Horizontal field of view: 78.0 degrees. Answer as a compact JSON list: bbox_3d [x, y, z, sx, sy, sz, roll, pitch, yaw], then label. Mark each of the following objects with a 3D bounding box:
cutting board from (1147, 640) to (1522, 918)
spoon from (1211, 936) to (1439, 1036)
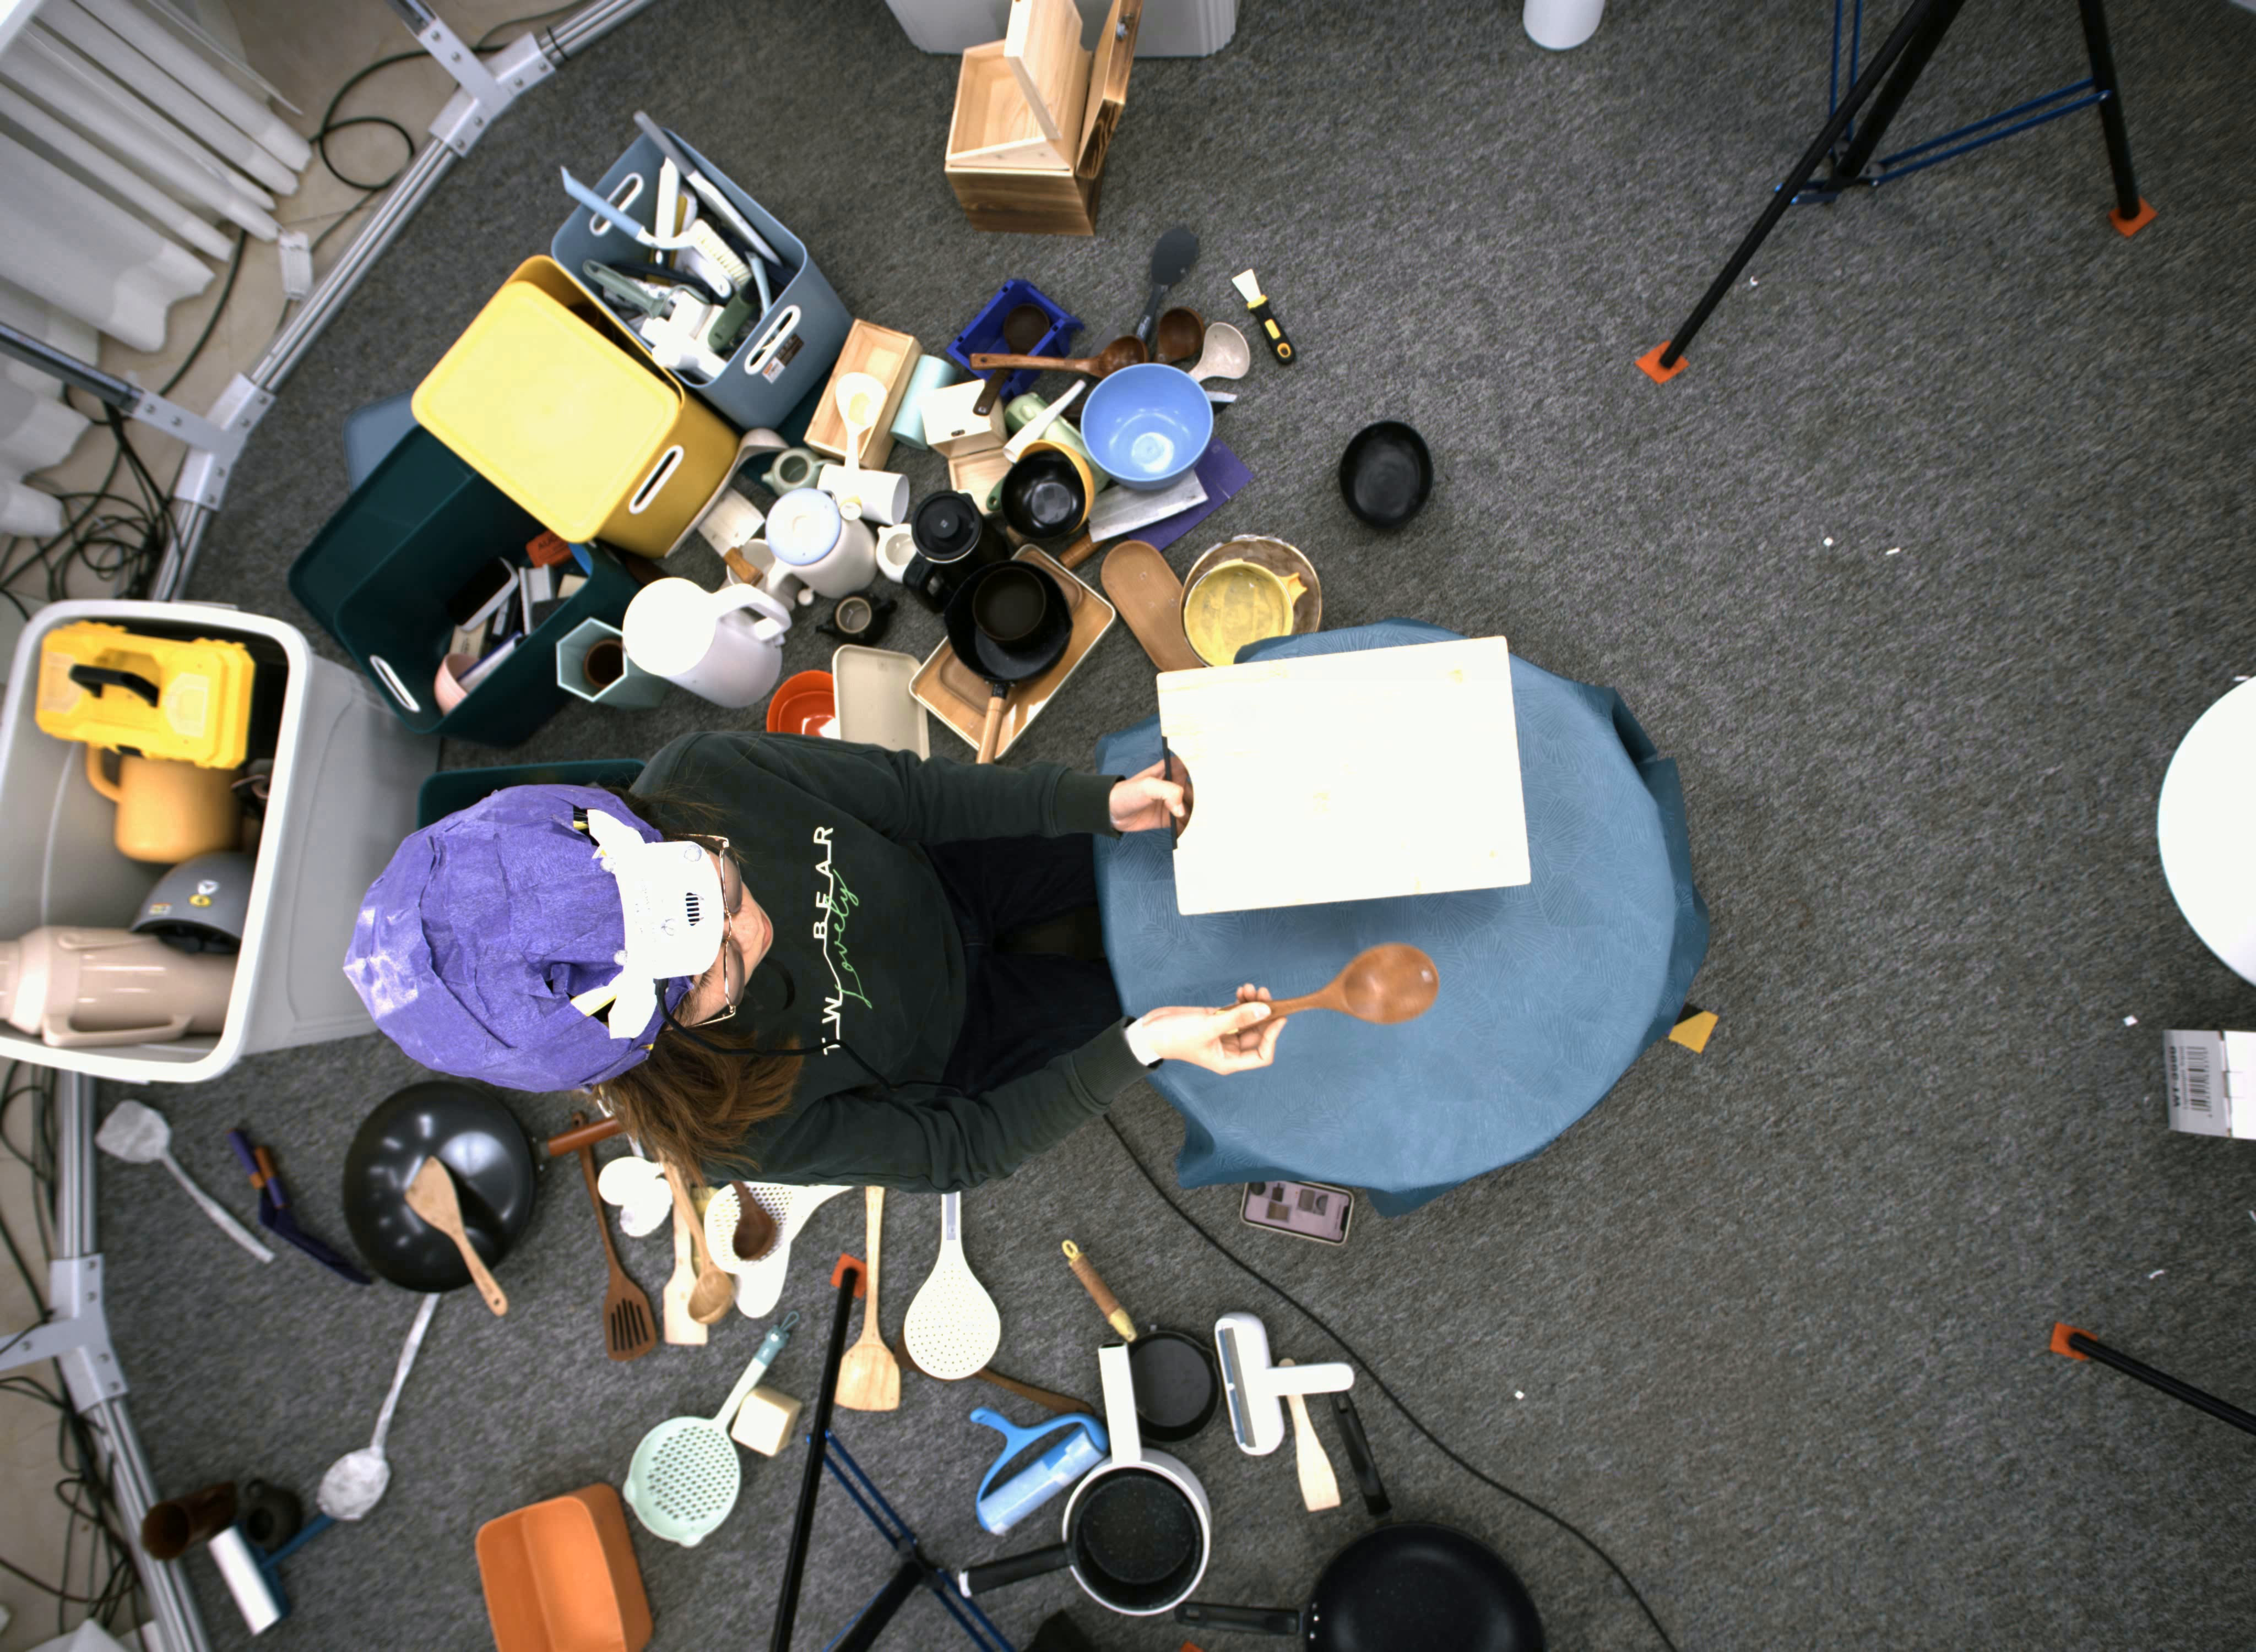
[{"bbox_3d":[0.203,-0.046,1.347,0.350,0.023,0.250,-6,90,8],"label":"cutting board"},{"bbox_3d":[0.180,0.155,1.278,0.217,0.017,0.076,-17,96,13],"label":"spoon"}]
